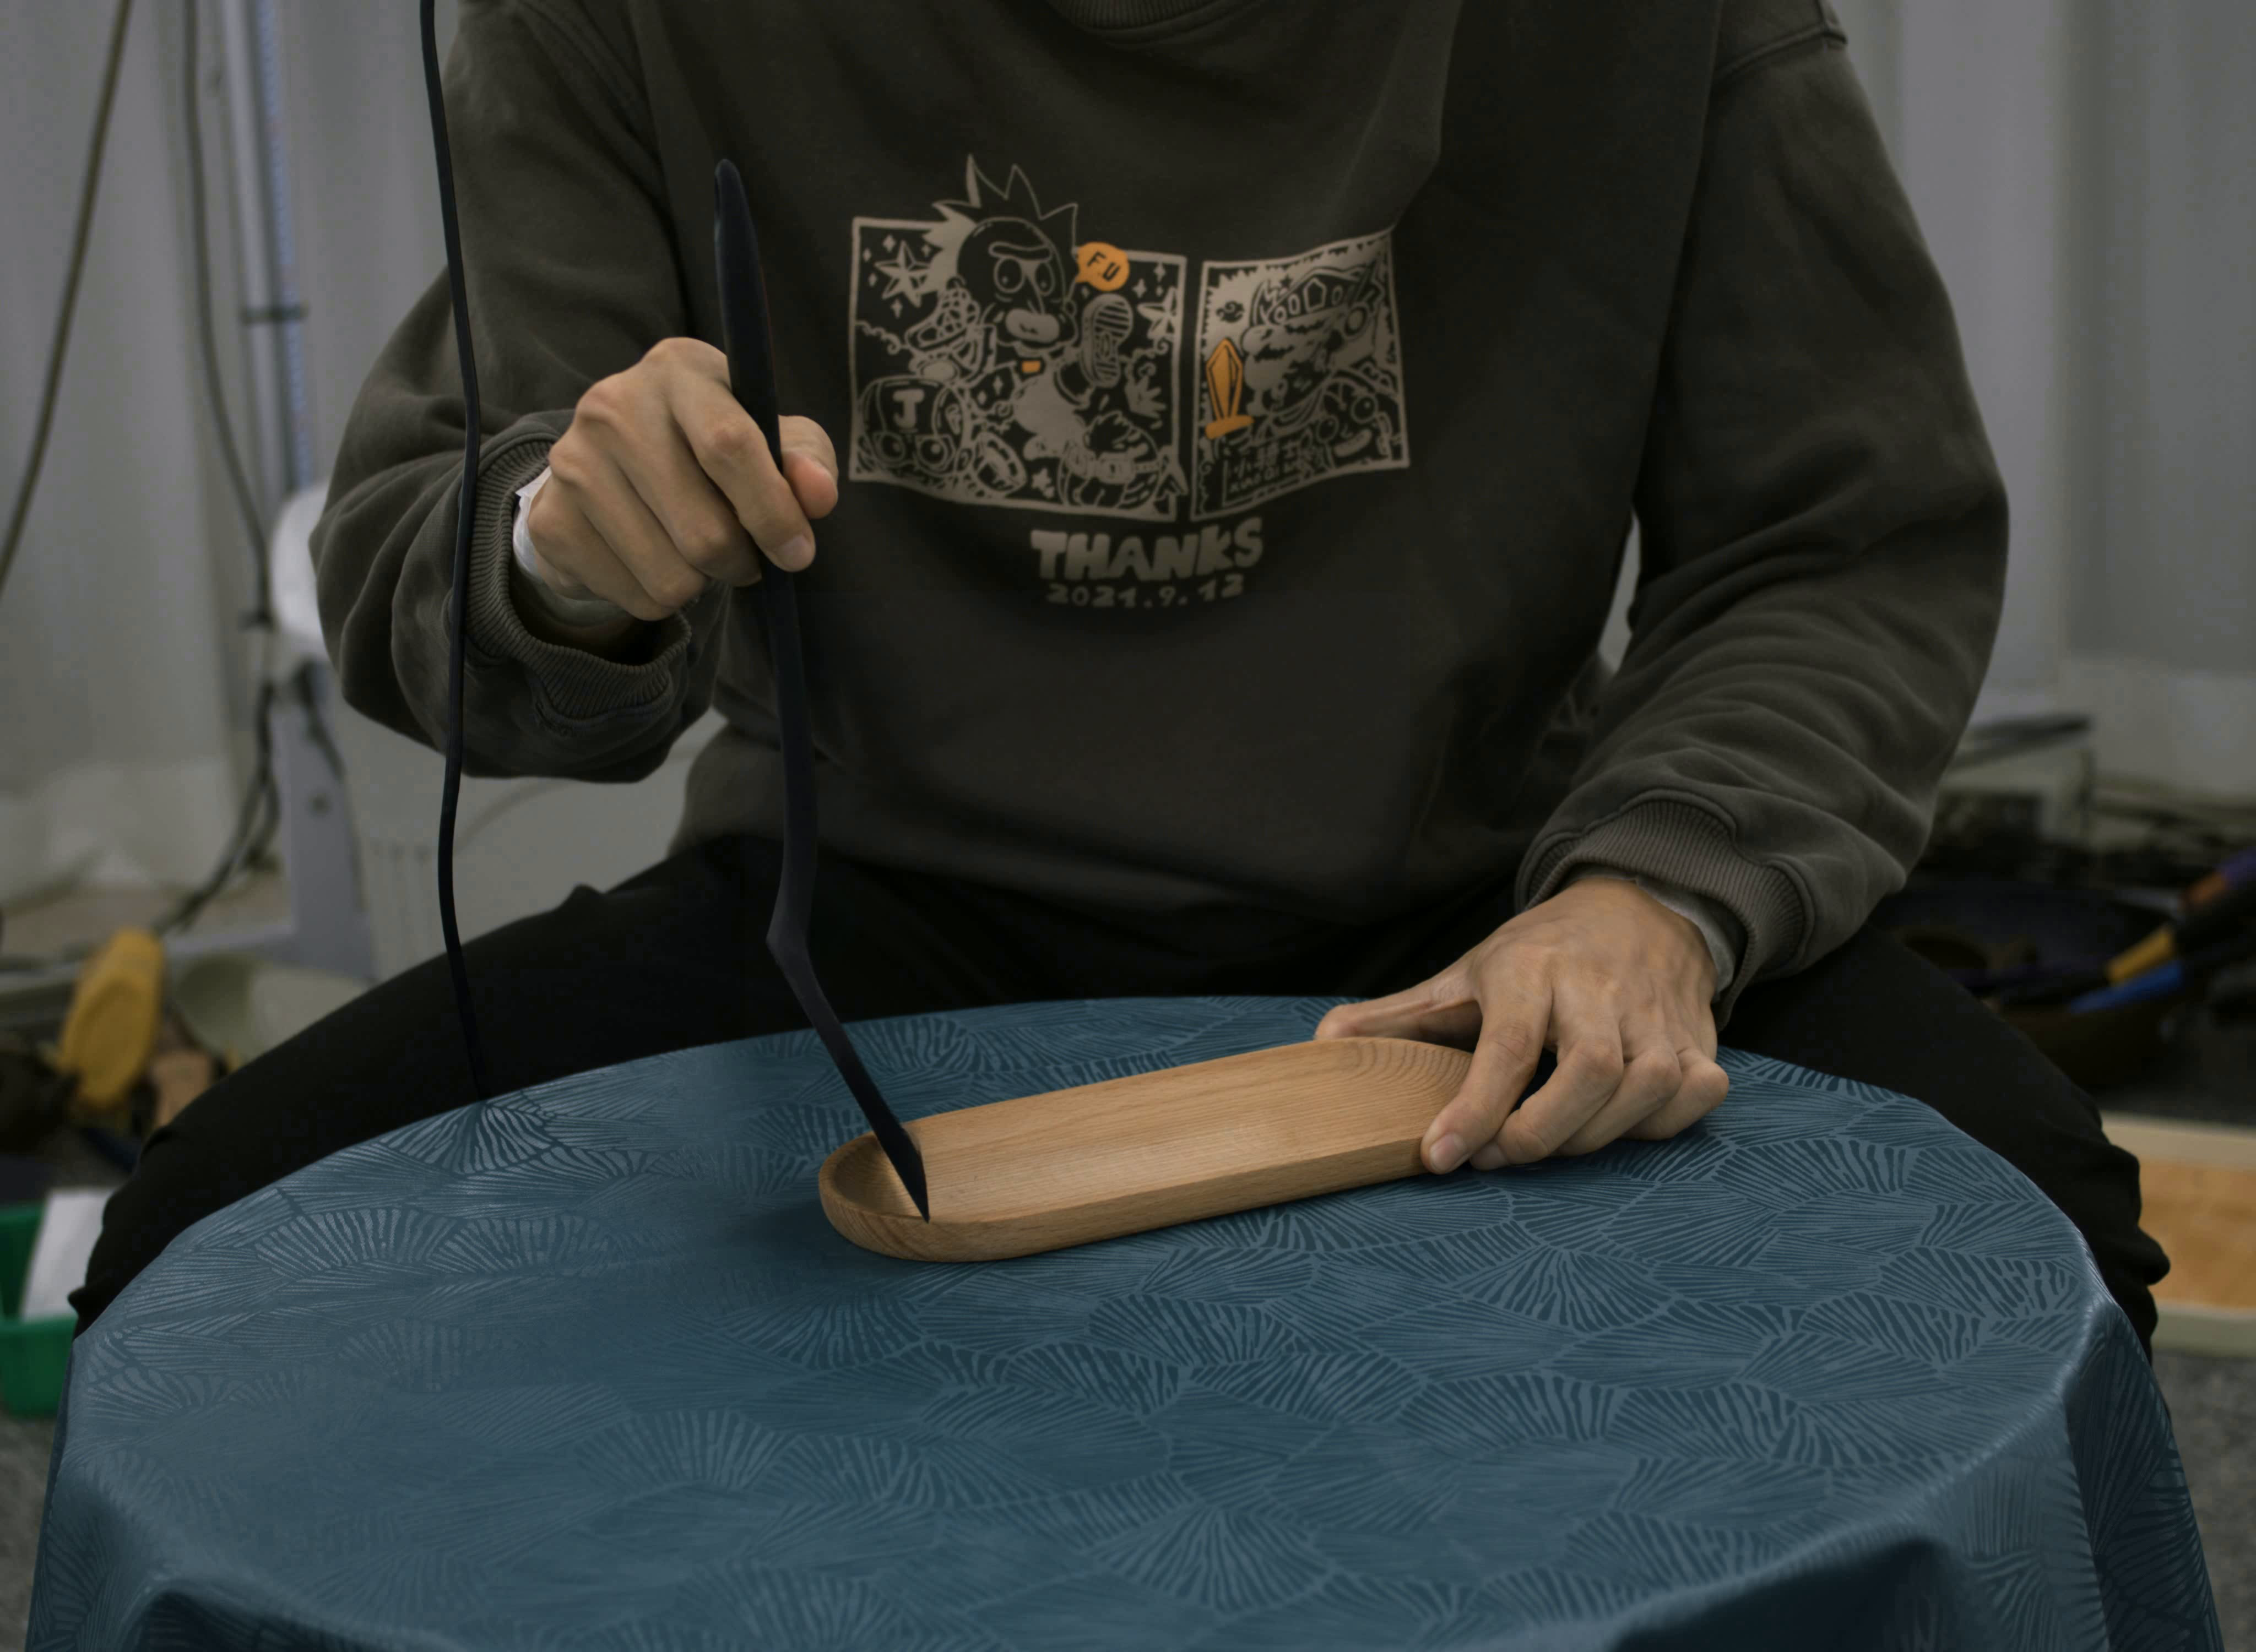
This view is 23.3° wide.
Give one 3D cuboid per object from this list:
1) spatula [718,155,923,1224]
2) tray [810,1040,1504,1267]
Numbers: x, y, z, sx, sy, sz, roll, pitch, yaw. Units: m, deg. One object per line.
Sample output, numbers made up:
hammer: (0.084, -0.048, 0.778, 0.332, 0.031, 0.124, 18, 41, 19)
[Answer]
spatula: (-0.096, -0.041, 1.654, 0.040, 0.325, 0.100, -6, 13, -13)
tray: (0.011, 0.103, 1.730, 0.230, 0.020, 0.102, -11, 18, -22)
